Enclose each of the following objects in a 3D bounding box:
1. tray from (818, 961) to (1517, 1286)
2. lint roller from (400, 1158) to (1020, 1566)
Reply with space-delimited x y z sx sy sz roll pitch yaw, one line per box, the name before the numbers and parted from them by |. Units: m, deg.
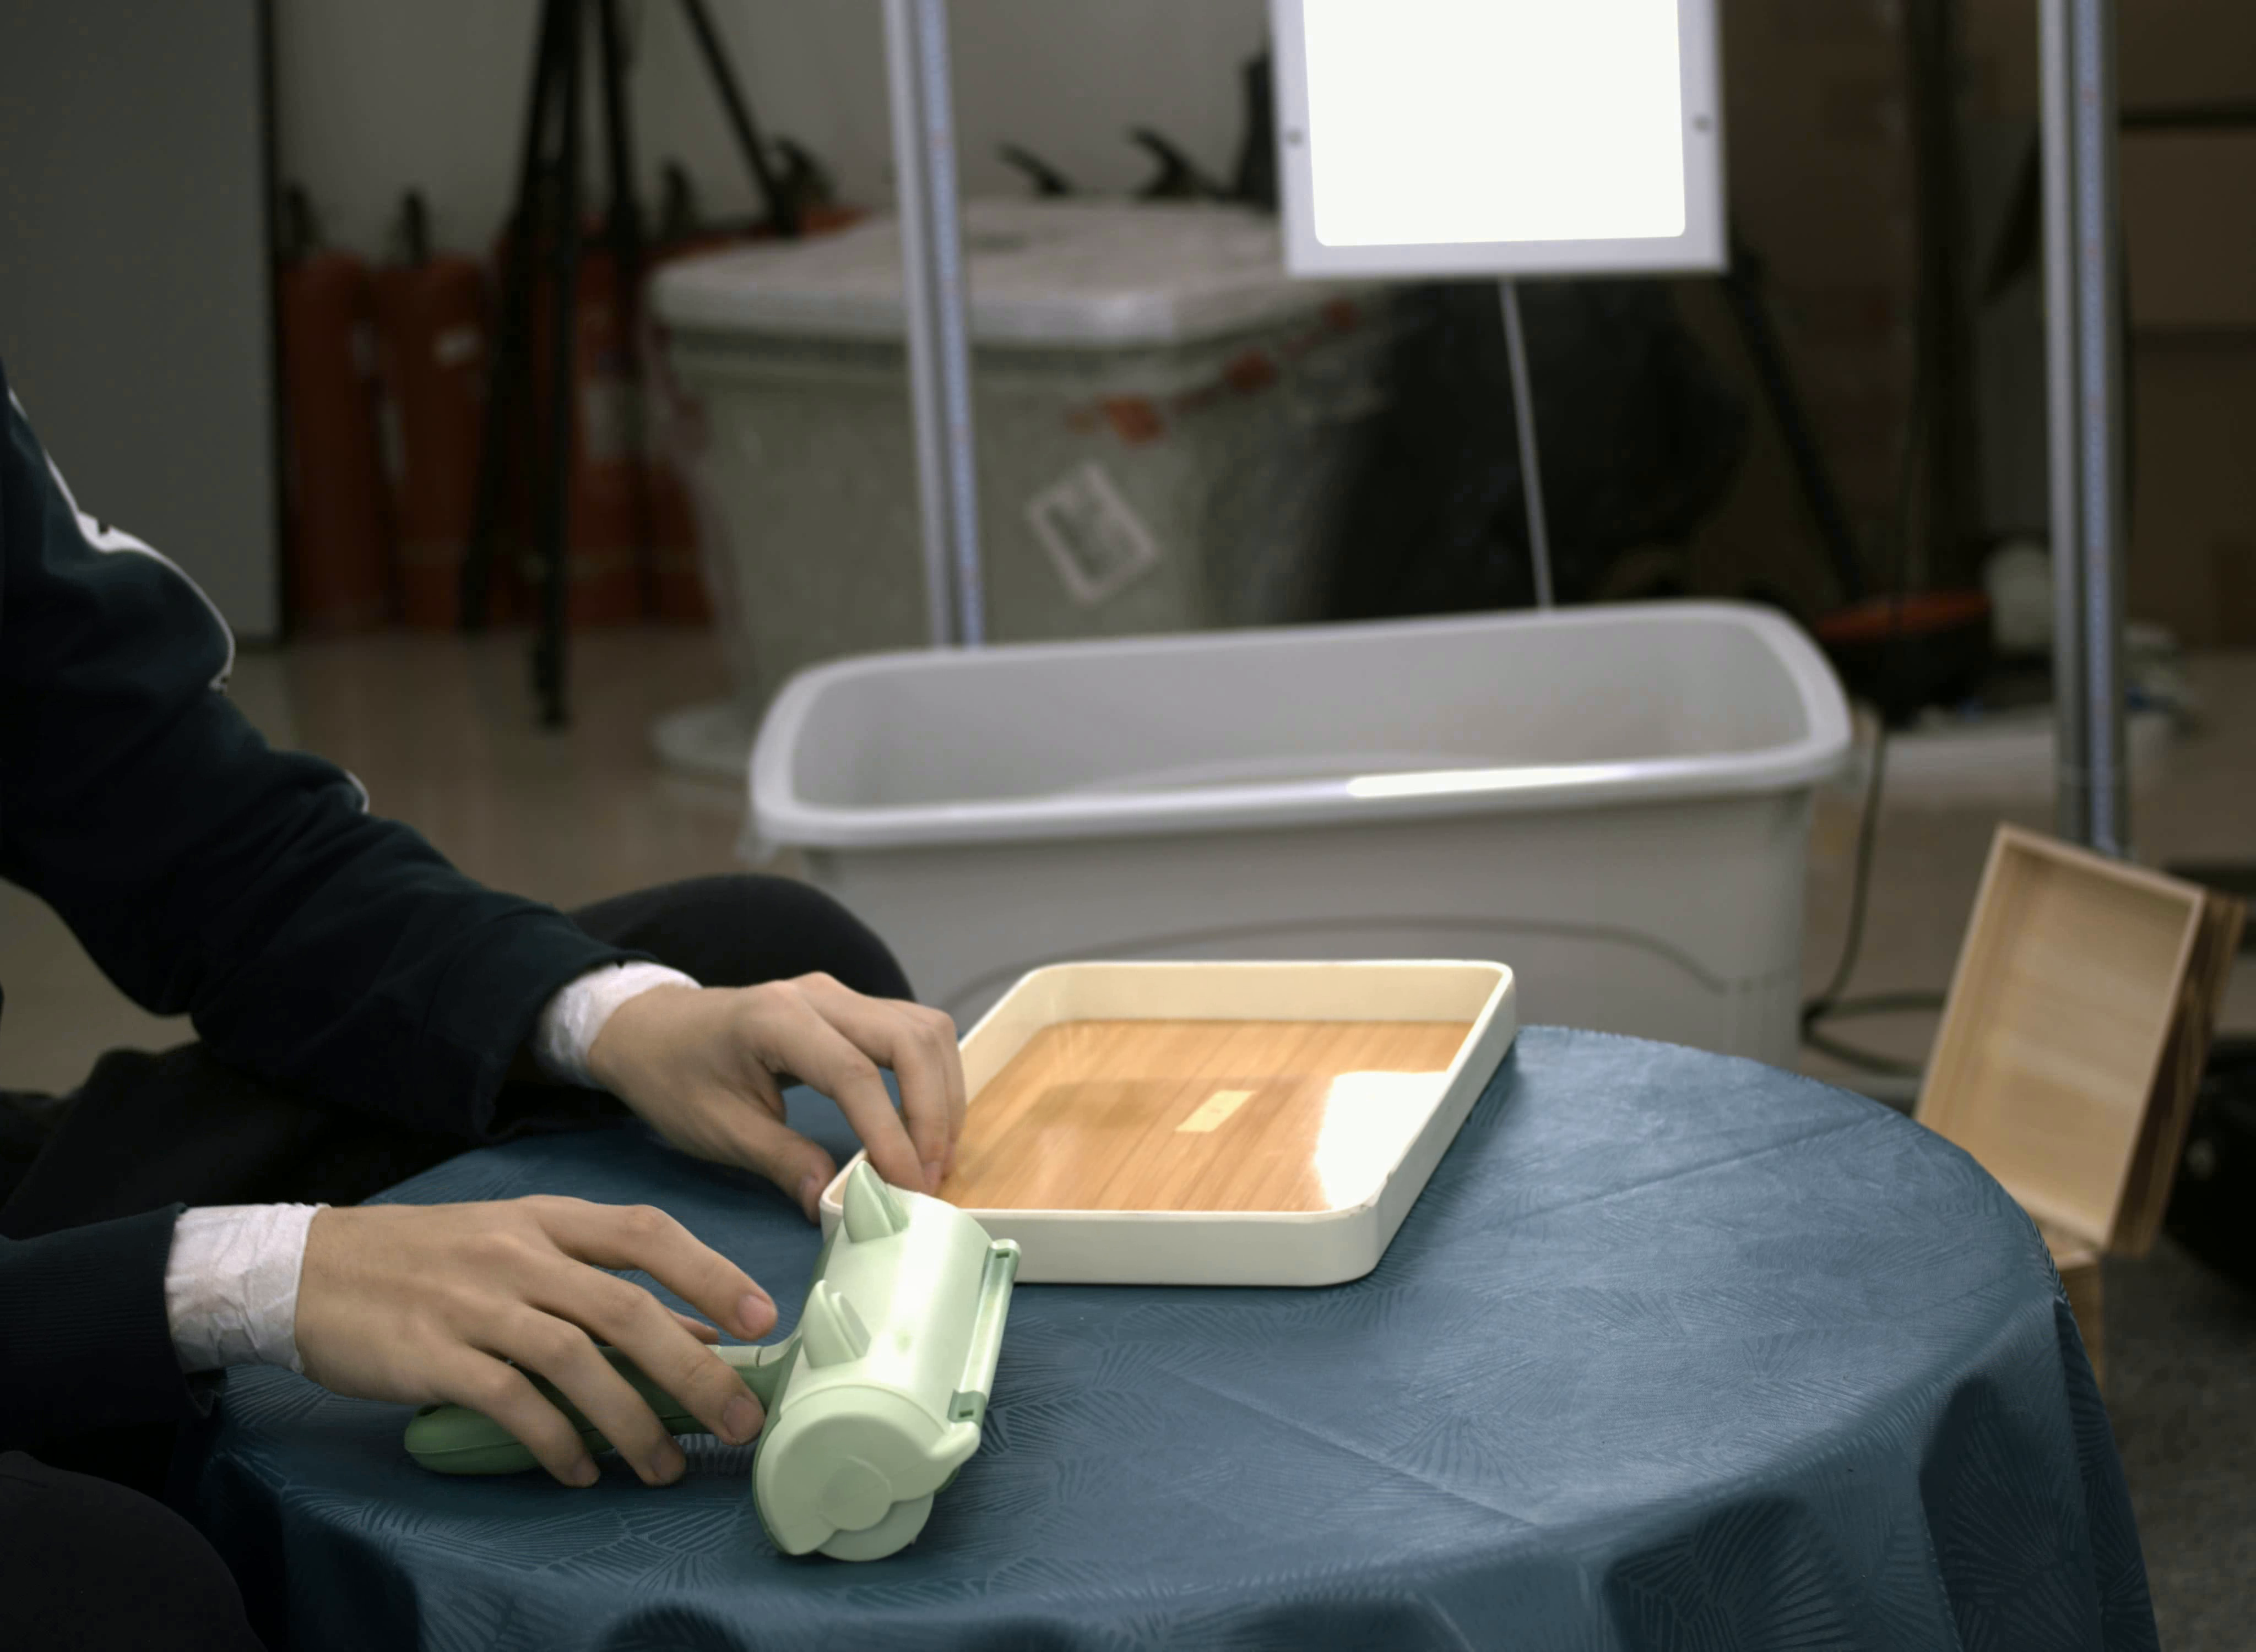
tray | 0.021 0.102 1.933 0.193 0.027 0.296 -2 14 16
lint roller | -0.130 0.156 1.665 0.183 0.082 0.197 1 15 4
